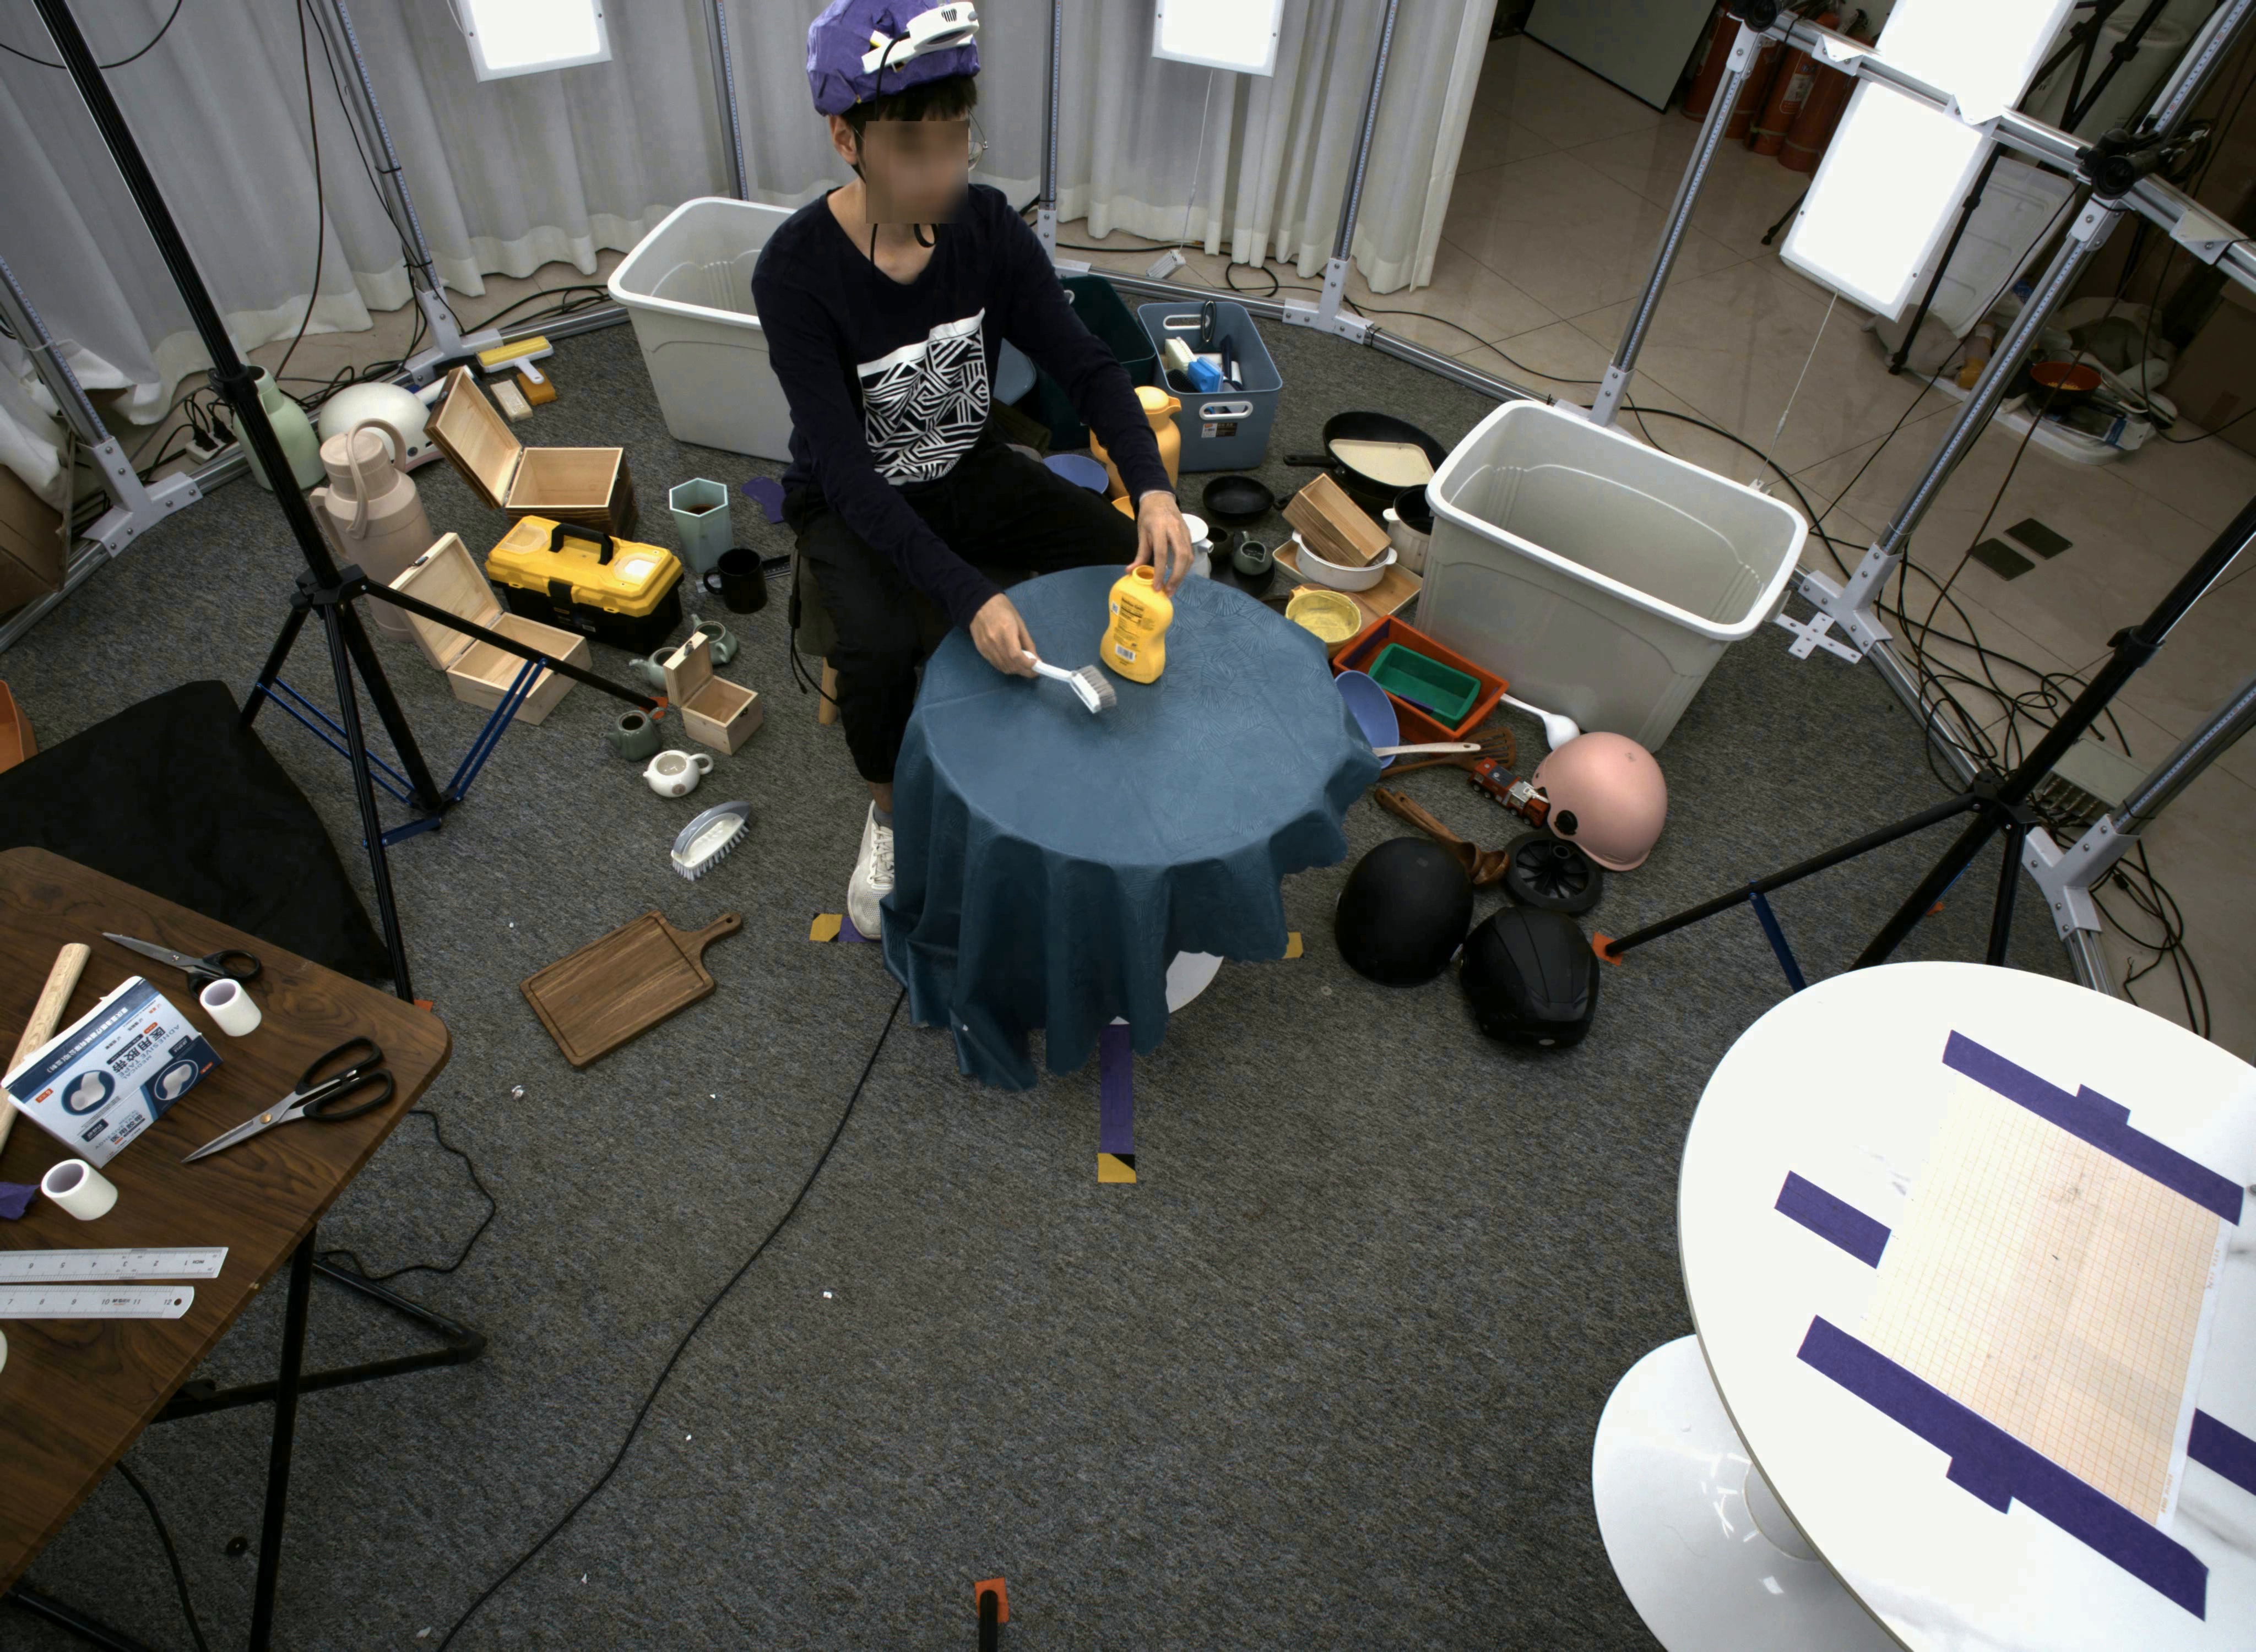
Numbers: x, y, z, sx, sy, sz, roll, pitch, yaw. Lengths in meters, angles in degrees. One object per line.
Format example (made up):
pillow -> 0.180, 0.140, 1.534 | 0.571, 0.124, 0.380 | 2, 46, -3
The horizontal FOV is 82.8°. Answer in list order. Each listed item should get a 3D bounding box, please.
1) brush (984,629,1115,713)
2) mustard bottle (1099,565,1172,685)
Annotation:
brush -> -0.111, -0.235, 1.811 | 0.247, 0.034, 0.050 | 37, 94, 31
mustard bottle -> 0.012, -0.289, 1.808 | 0.099, 0.168, 0.060 | 28, 47, 19
